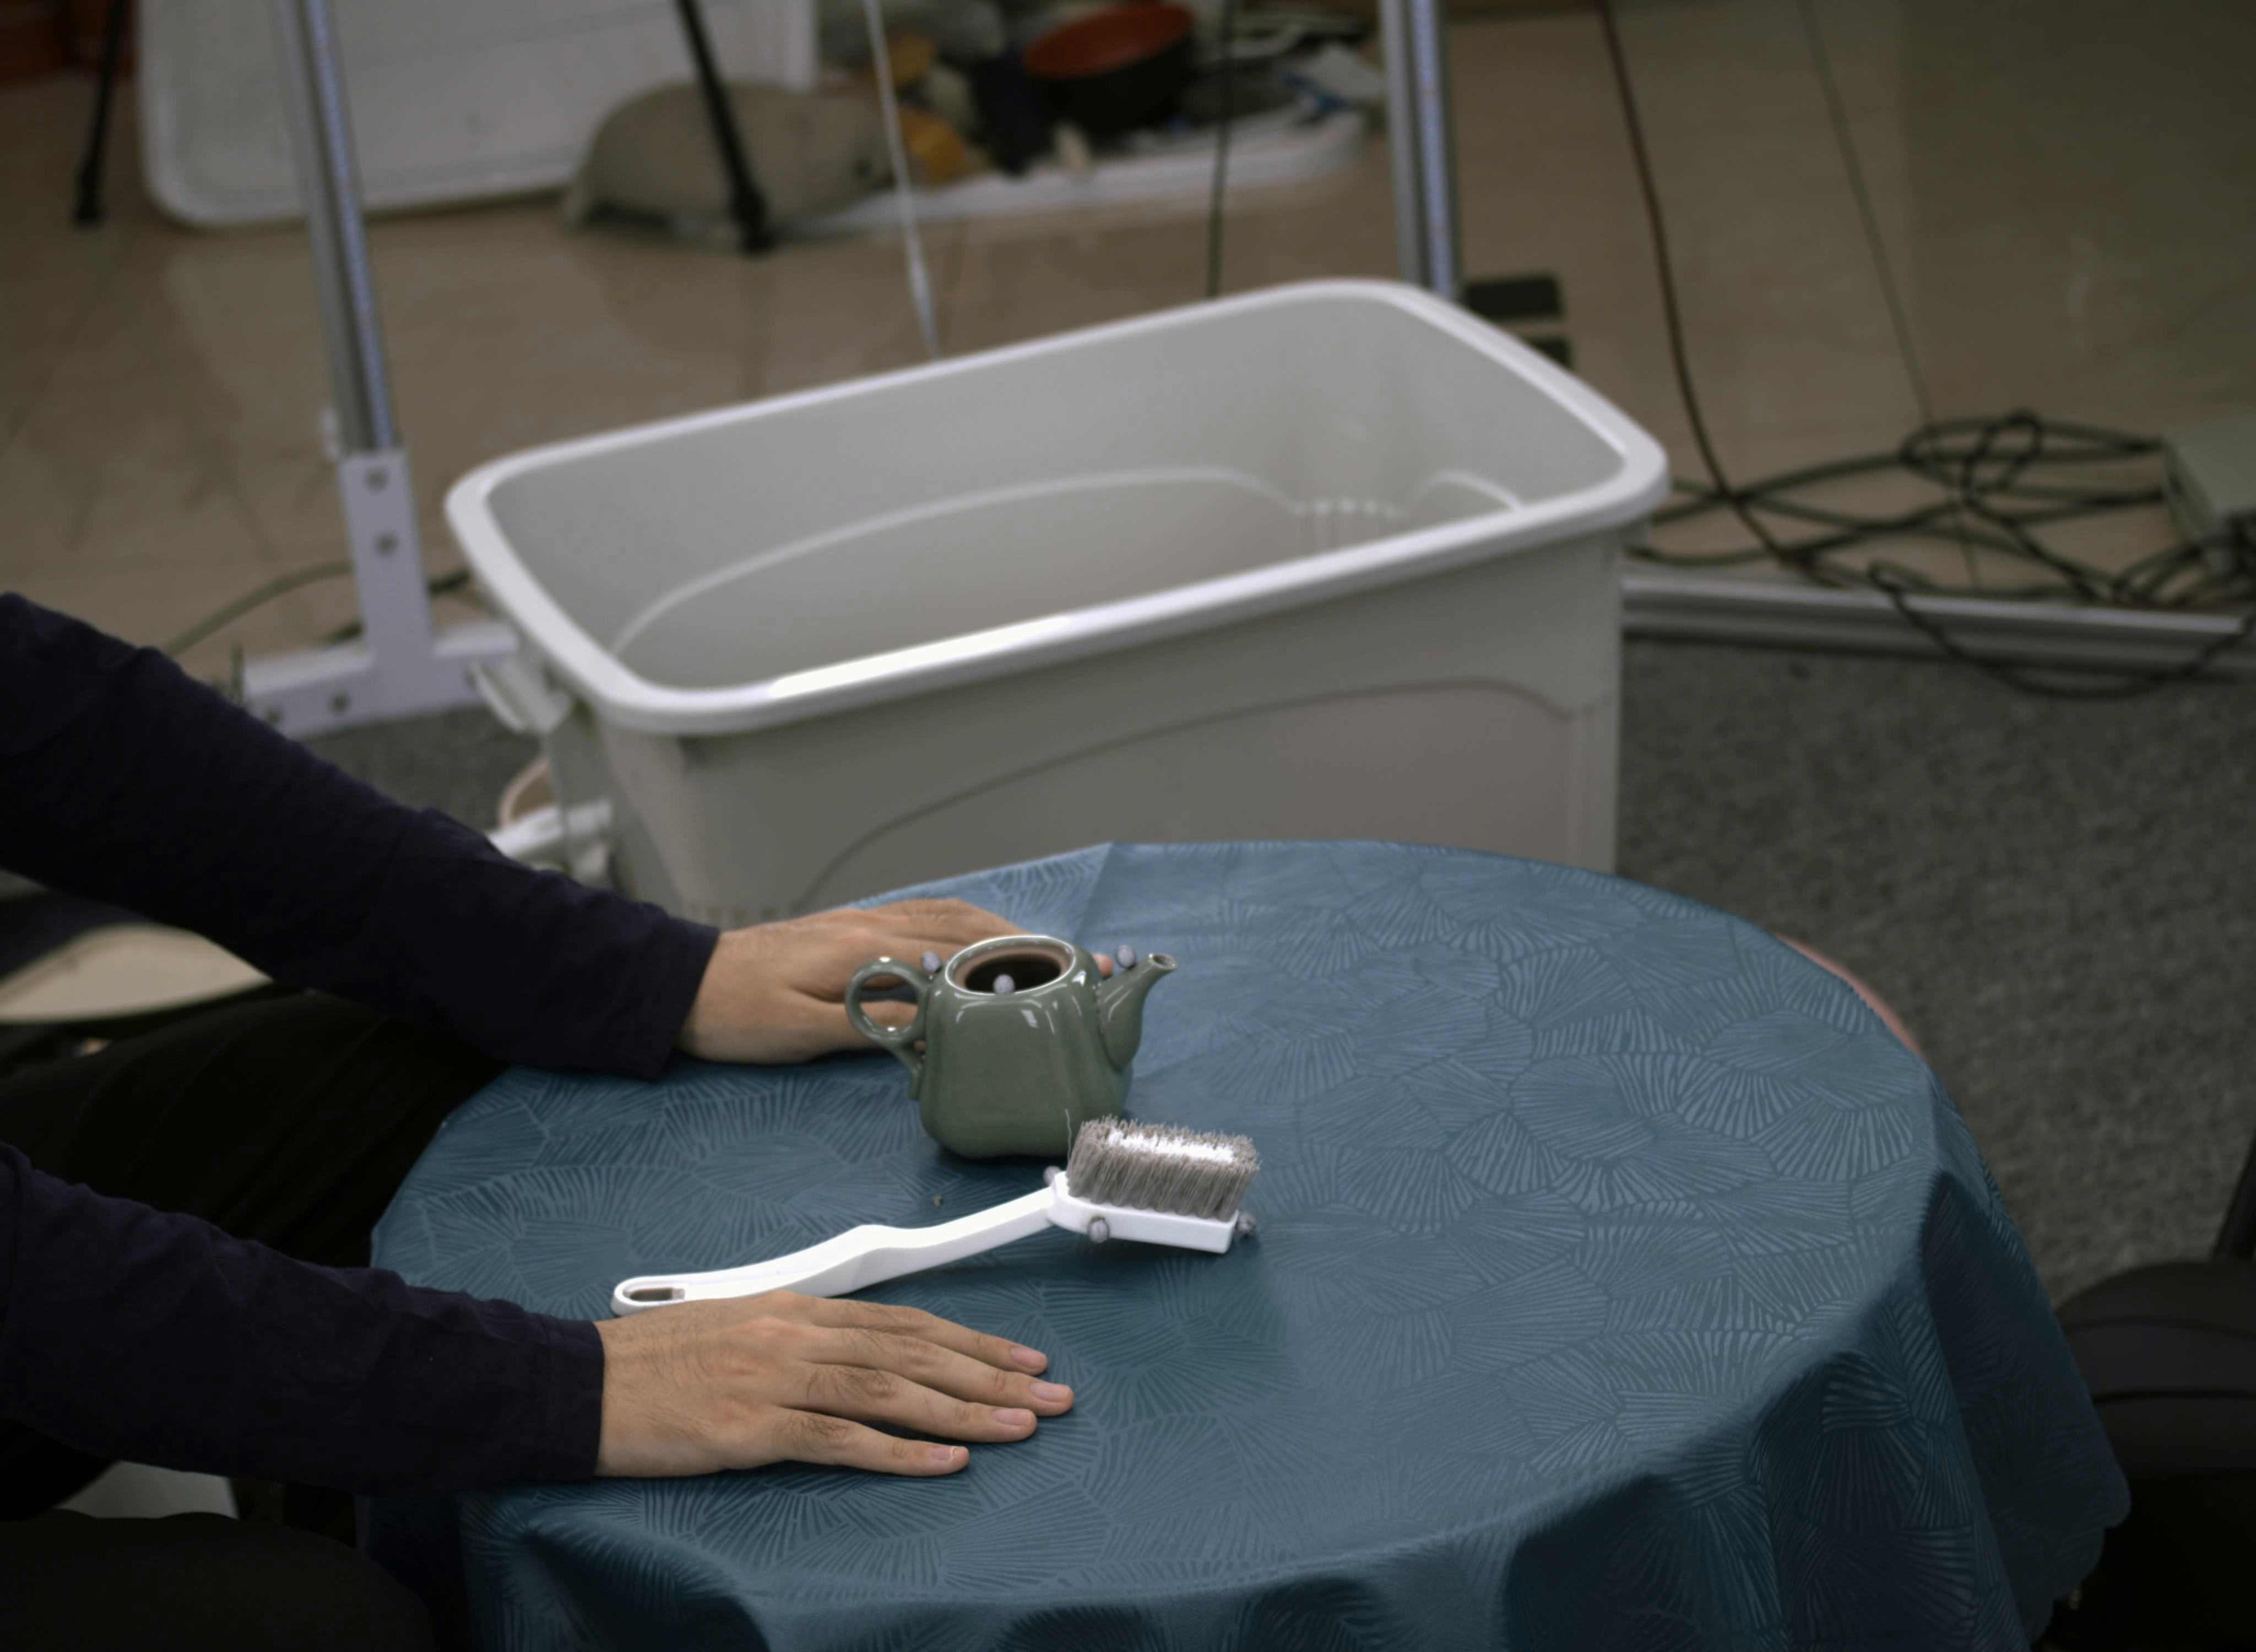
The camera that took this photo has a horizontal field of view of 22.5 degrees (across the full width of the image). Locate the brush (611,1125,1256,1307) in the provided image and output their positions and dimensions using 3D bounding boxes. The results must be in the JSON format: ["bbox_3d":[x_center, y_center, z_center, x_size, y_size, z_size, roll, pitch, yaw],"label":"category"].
[{"bbox_3d":[-0.073,0.144,2.099,0.243,0.051,0.034,-6,30,2],"label":"brush"}]

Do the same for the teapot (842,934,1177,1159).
[{"bbox_3d":[-0.043,0.084,2.190,0.132,0.076,0.078,-3,25,9],"label":"teapot"}]
